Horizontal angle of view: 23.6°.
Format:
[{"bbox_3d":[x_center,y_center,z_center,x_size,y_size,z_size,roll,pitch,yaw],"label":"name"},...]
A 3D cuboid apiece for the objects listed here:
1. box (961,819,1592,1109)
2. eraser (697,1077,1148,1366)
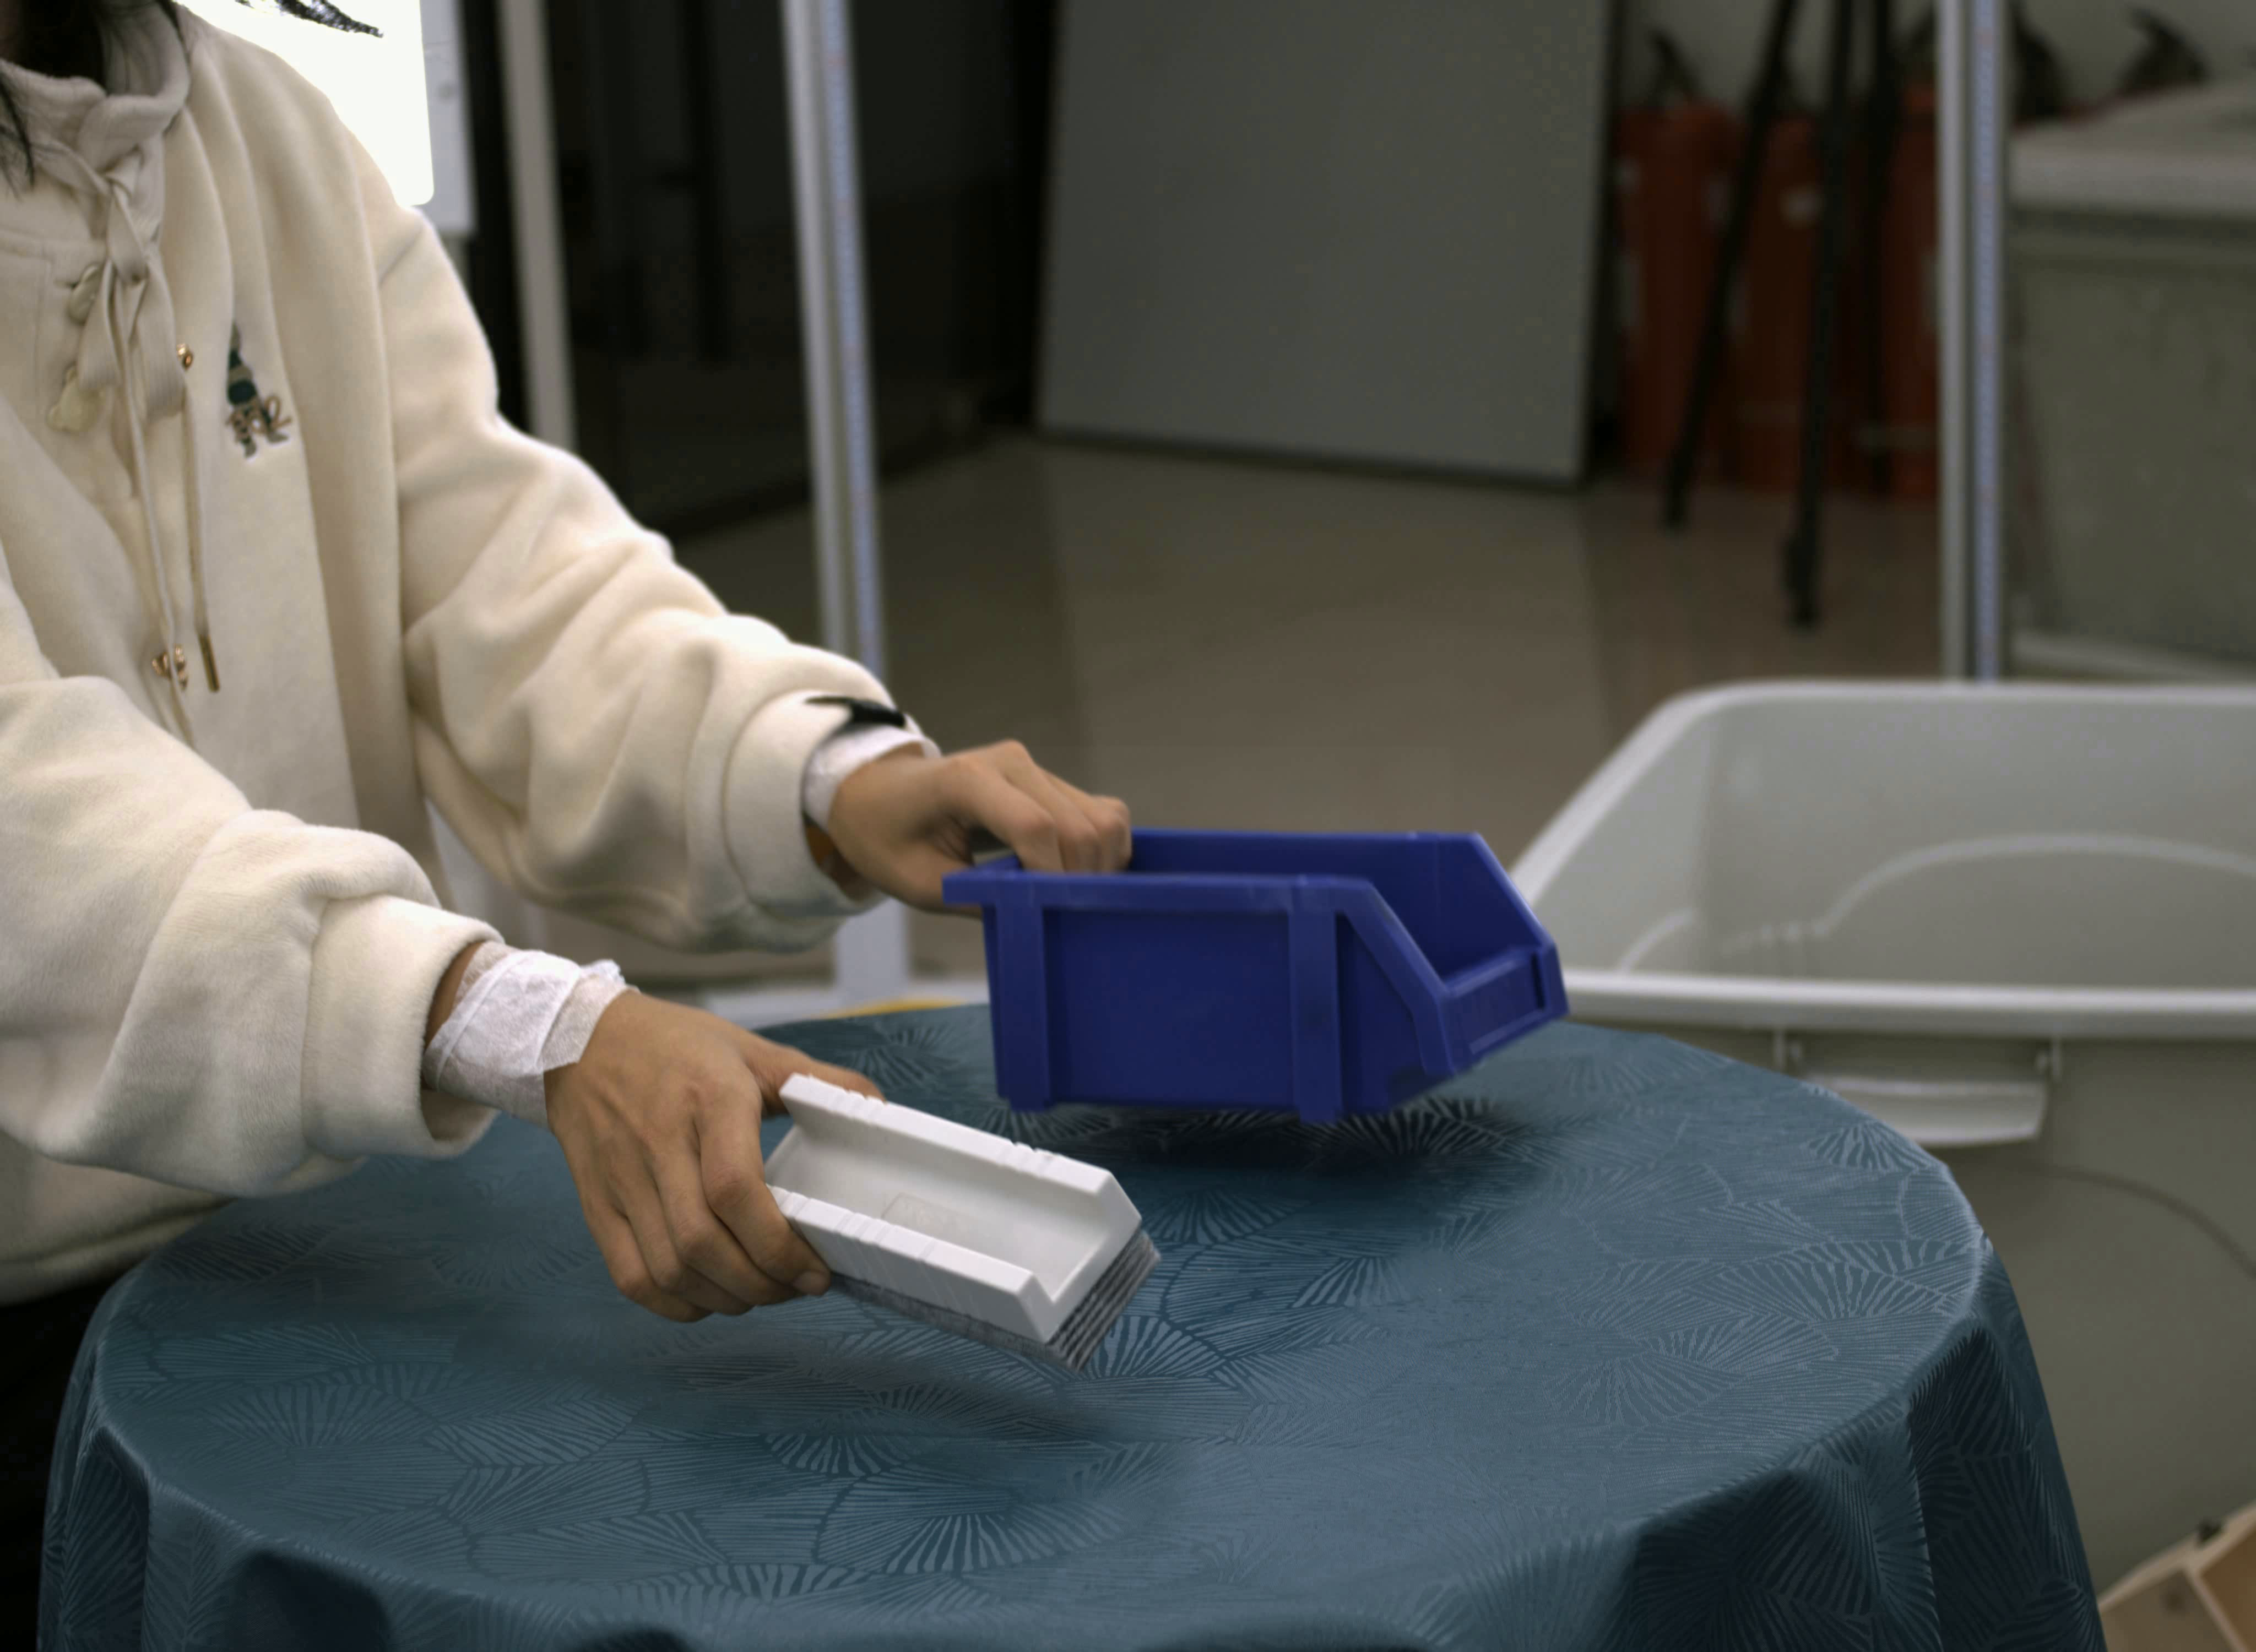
[{"bbox_3d":[0.052,0.045,1.804,0.179,0.083,0.123,-2,5,26],"label":"box"},{"bbox_3d":[-0.060,0.115,1.582,0.135,0.046,0.049,12,58,41],"label":"eraser"}]
